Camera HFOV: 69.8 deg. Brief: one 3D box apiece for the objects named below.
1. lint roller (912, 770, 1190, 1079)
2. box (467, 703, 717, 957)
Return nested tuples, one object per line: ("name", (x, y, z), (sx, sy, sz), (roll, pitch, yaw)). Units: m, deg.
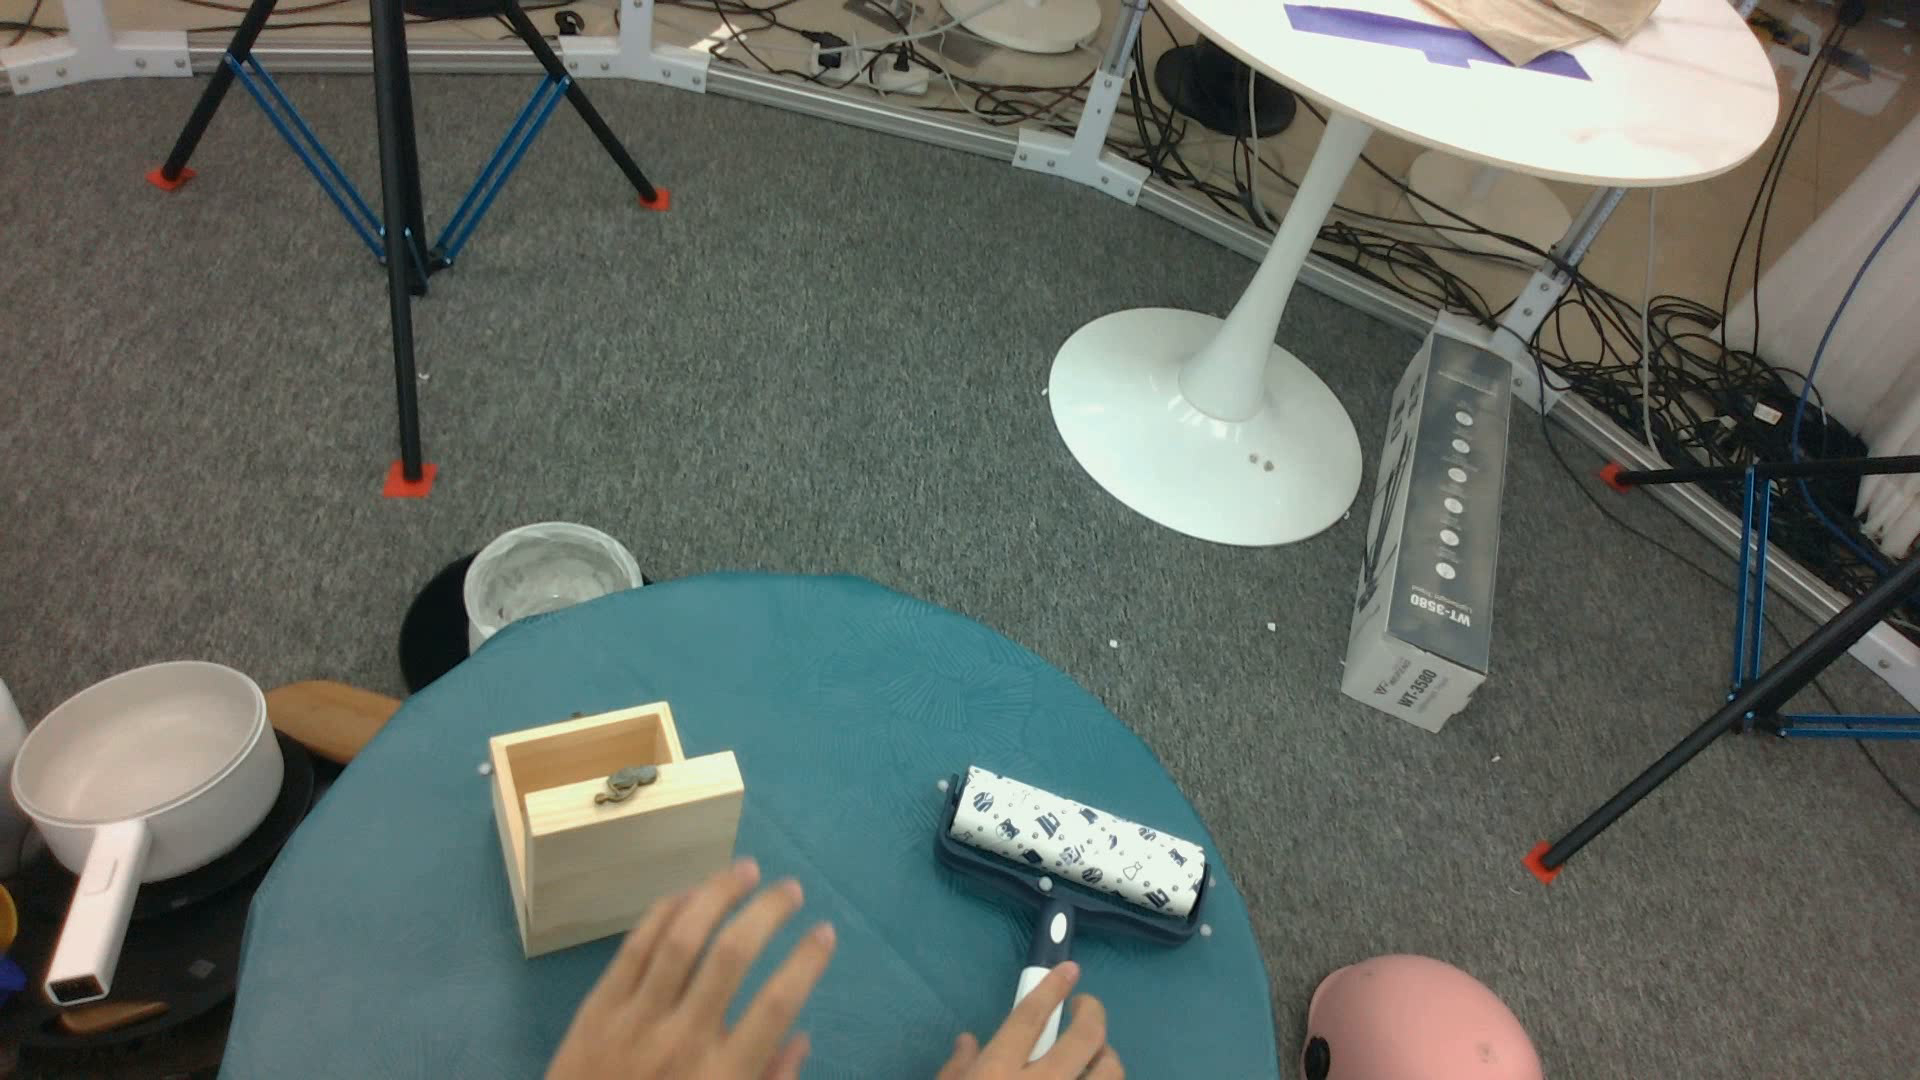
("lint roller", (0.038, 0.266, 0.815), (0.176, 0.050, 0.248), (19, 48, -2))
("box", (-0.207, 0.141, 0.753), (0.103, 0.183, 0.134), (-11, 55, -24))
